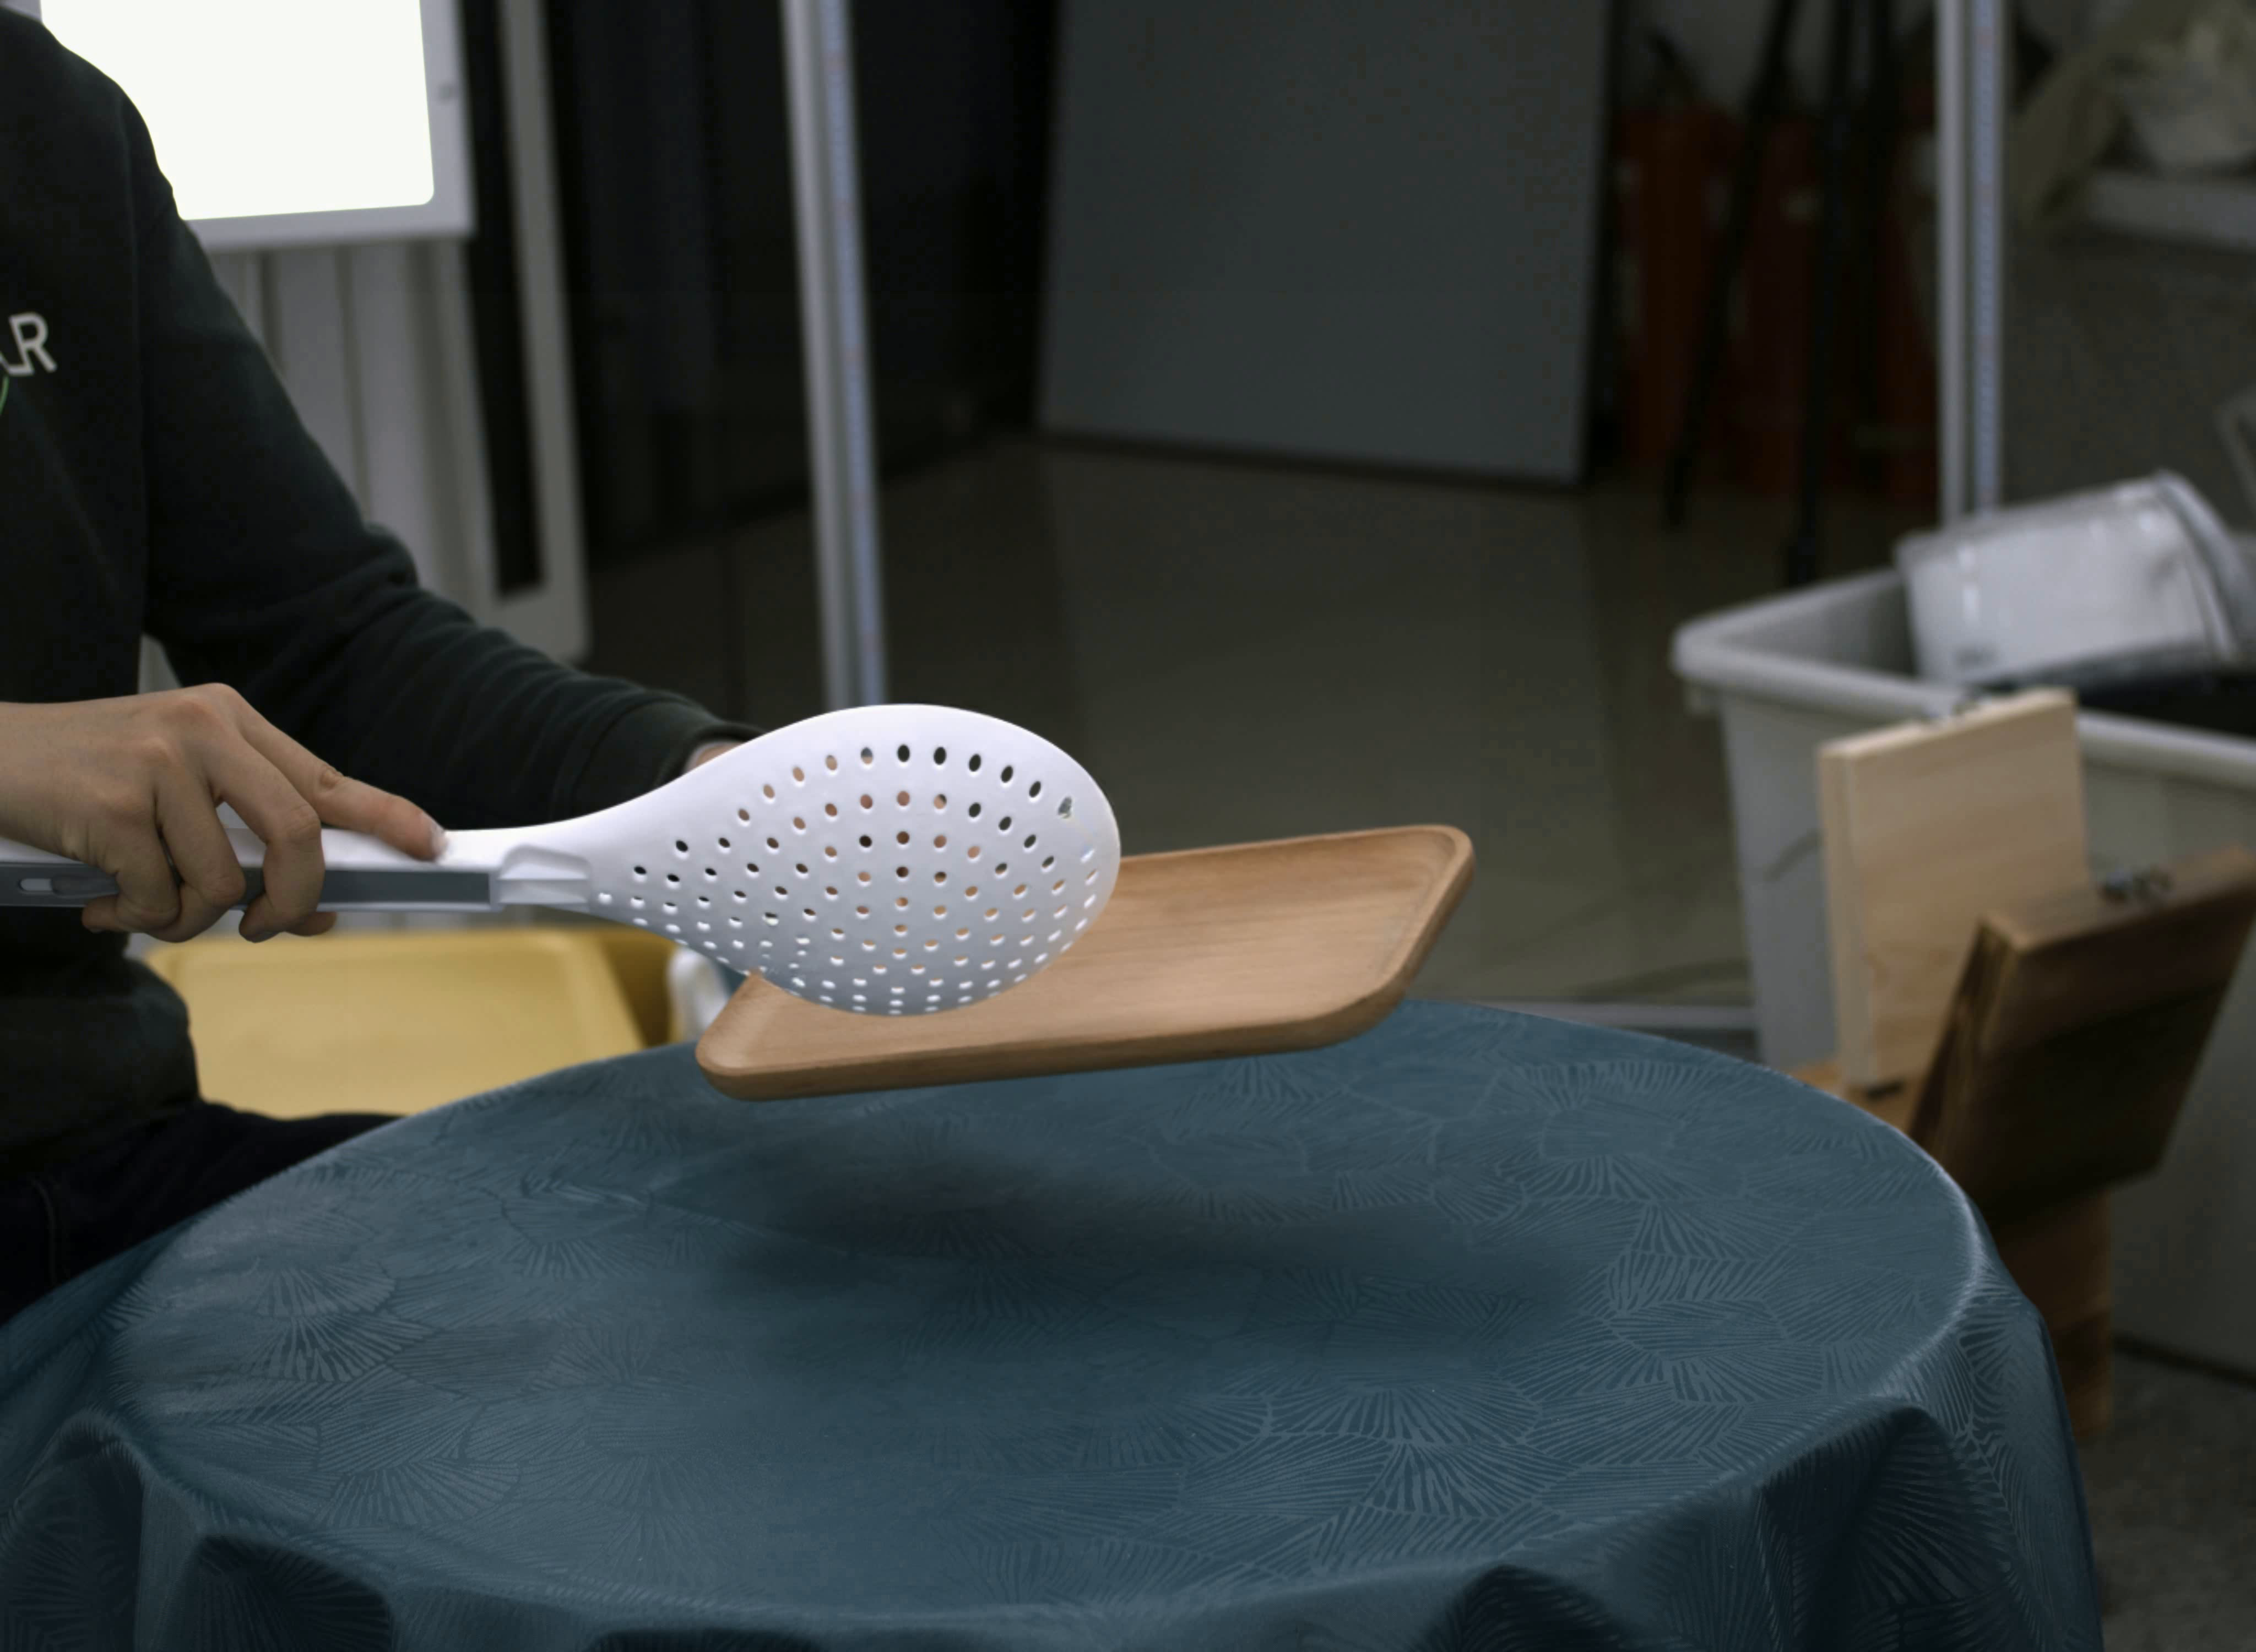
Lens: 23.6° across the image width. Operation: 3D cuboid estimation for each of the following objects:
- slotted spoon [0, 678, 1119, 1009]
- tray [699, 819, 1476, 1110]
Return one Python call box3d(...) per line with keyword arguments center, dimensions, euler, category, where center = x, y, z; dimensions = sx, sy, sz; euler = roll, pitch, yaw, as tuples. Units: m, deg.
box3d(center=(-0.176, 0.010, 1.632), dimensions=(0.345, 0.137, 0.046), euler=(3, 46, 1), category="slotted spoon")
box3d(center=(-0.013, 0.046, 1.725), dimensions=(0.251, 0.023, 0.129), euler=(-8, 23, 28), category="tray")
